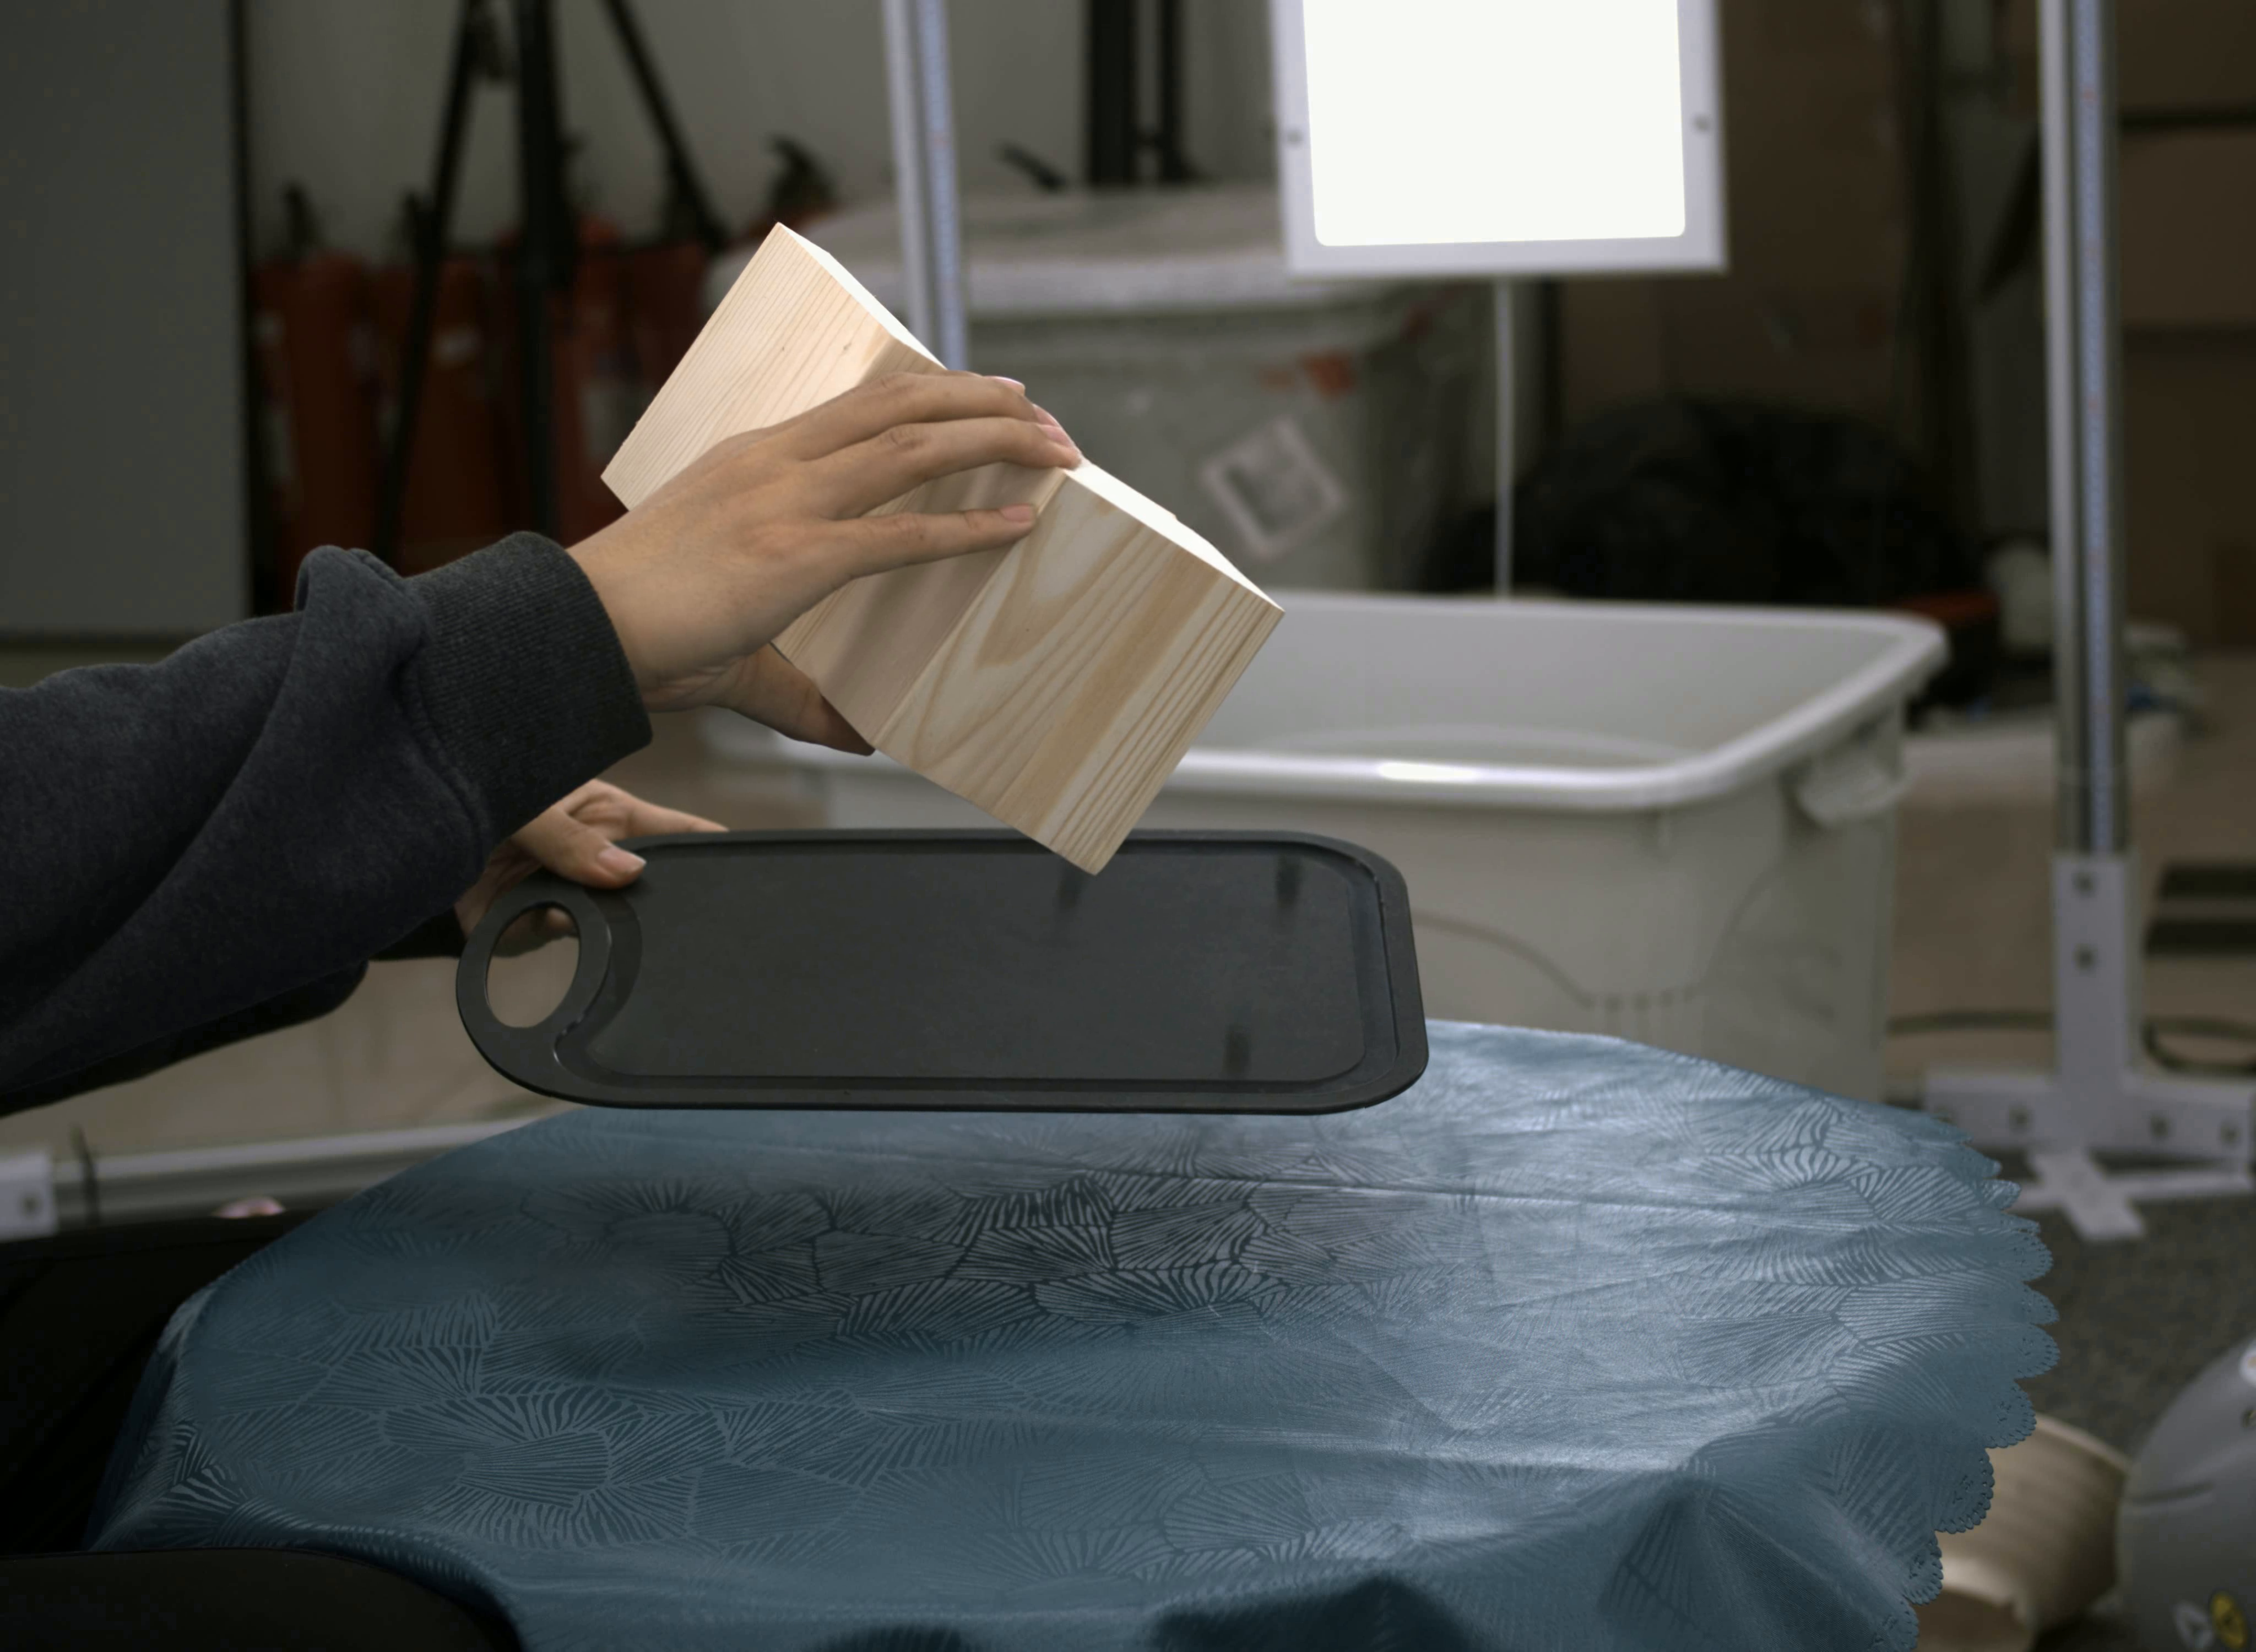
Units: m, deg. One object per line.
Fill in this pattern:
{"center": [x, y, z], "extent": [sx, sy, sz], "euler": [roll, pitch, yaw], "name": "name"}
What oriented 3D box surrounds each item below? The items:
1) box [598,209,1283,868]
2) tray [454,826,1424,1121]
{"center": [-0.061, -0.091, 1.724], "extent": [0.131, 0.103, 0.187], "euler": [29, 12, -39], "name": "box"}
{"center": [-0.064, 0.045, 1.857], "extent": [0.325, 0.010, 0.210], "euler": [0, 25, 2], "name": "tray"}
